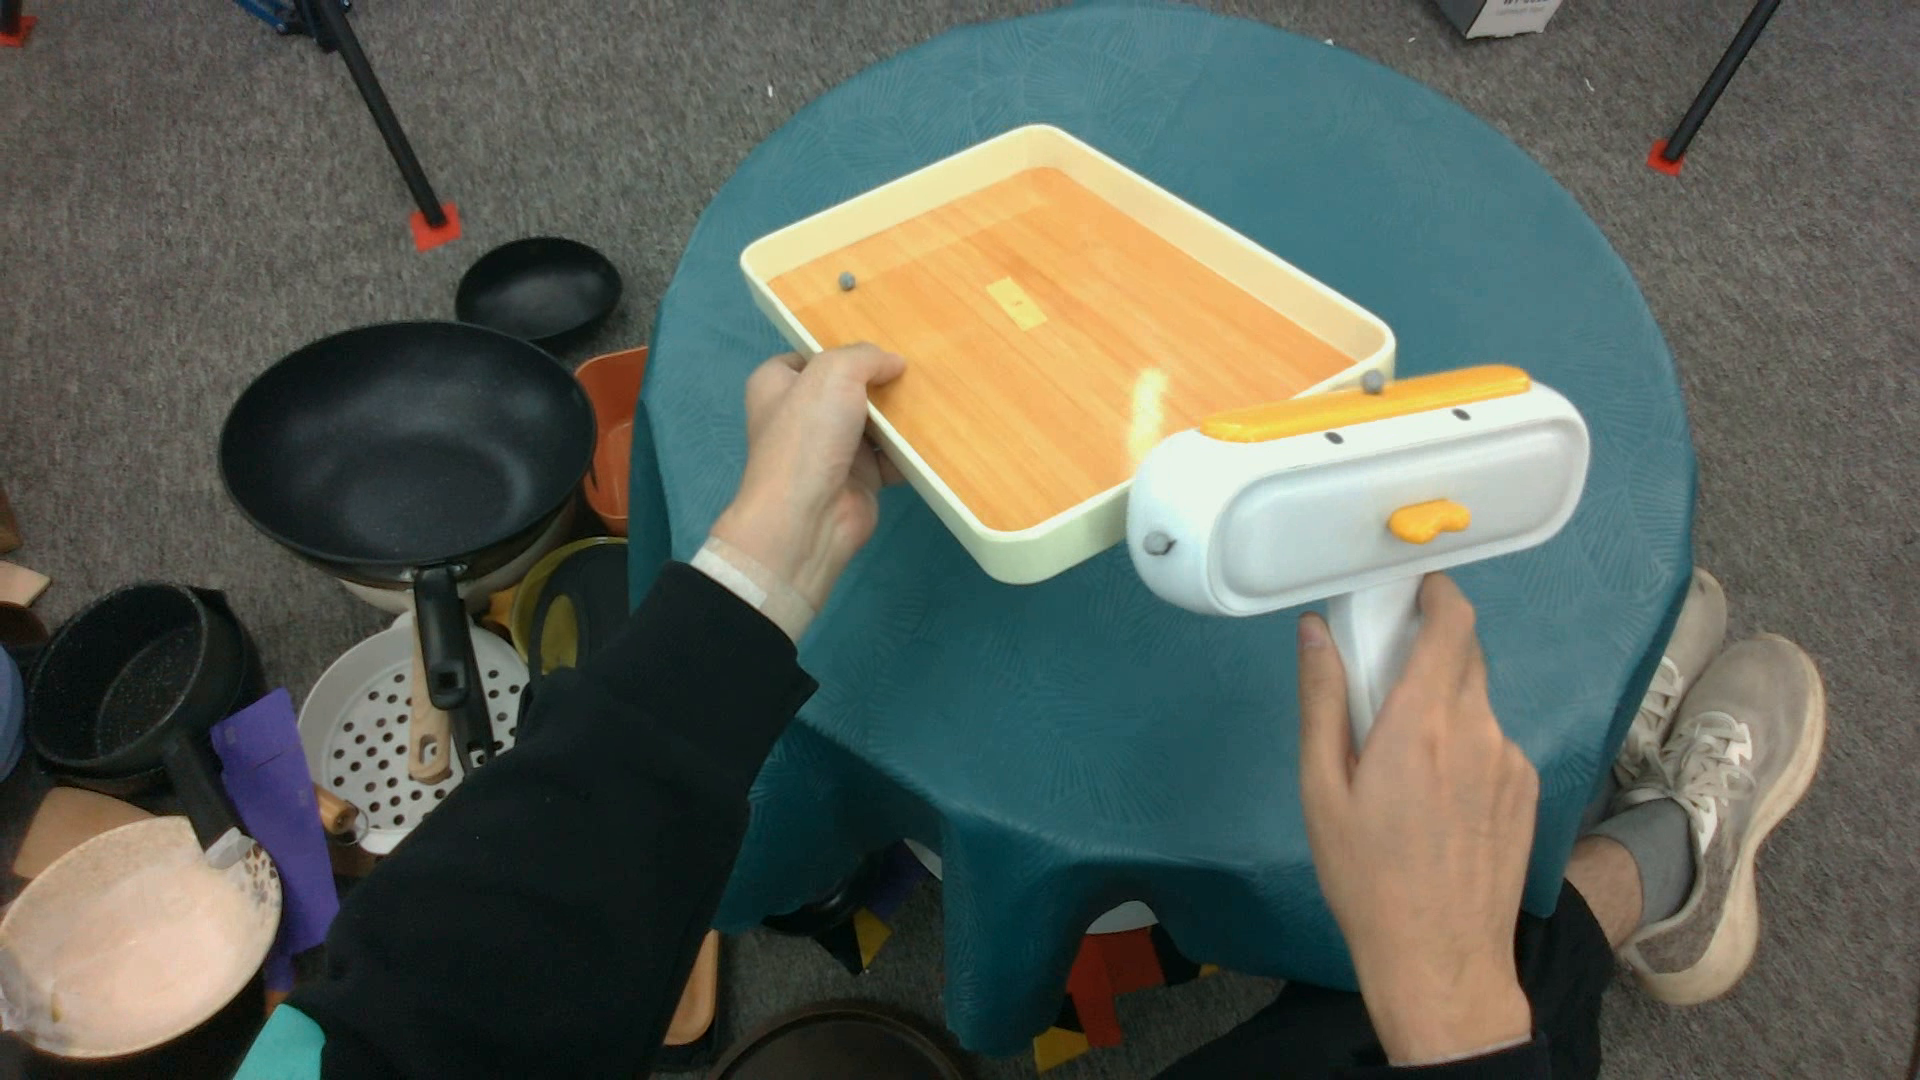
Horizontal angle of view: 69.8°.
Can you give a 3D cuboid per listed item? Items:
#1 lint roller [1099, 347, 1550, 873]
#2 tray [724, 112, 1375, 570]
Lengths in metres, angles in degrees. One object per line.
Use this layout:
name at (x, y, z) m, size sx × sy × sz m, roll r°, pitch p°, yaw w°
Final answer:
lint roller at (0.152, 0.033, 0.530) m, size 0.193 × 0.192 × 0.074 m, roll -17°, pitch 19°, yaw -27°
tray at (0.024, -0.110, 0.634) m, size 0.192 × 0.027 × 0.301 m, roll -26°, pitch 42°, yaw -13°
